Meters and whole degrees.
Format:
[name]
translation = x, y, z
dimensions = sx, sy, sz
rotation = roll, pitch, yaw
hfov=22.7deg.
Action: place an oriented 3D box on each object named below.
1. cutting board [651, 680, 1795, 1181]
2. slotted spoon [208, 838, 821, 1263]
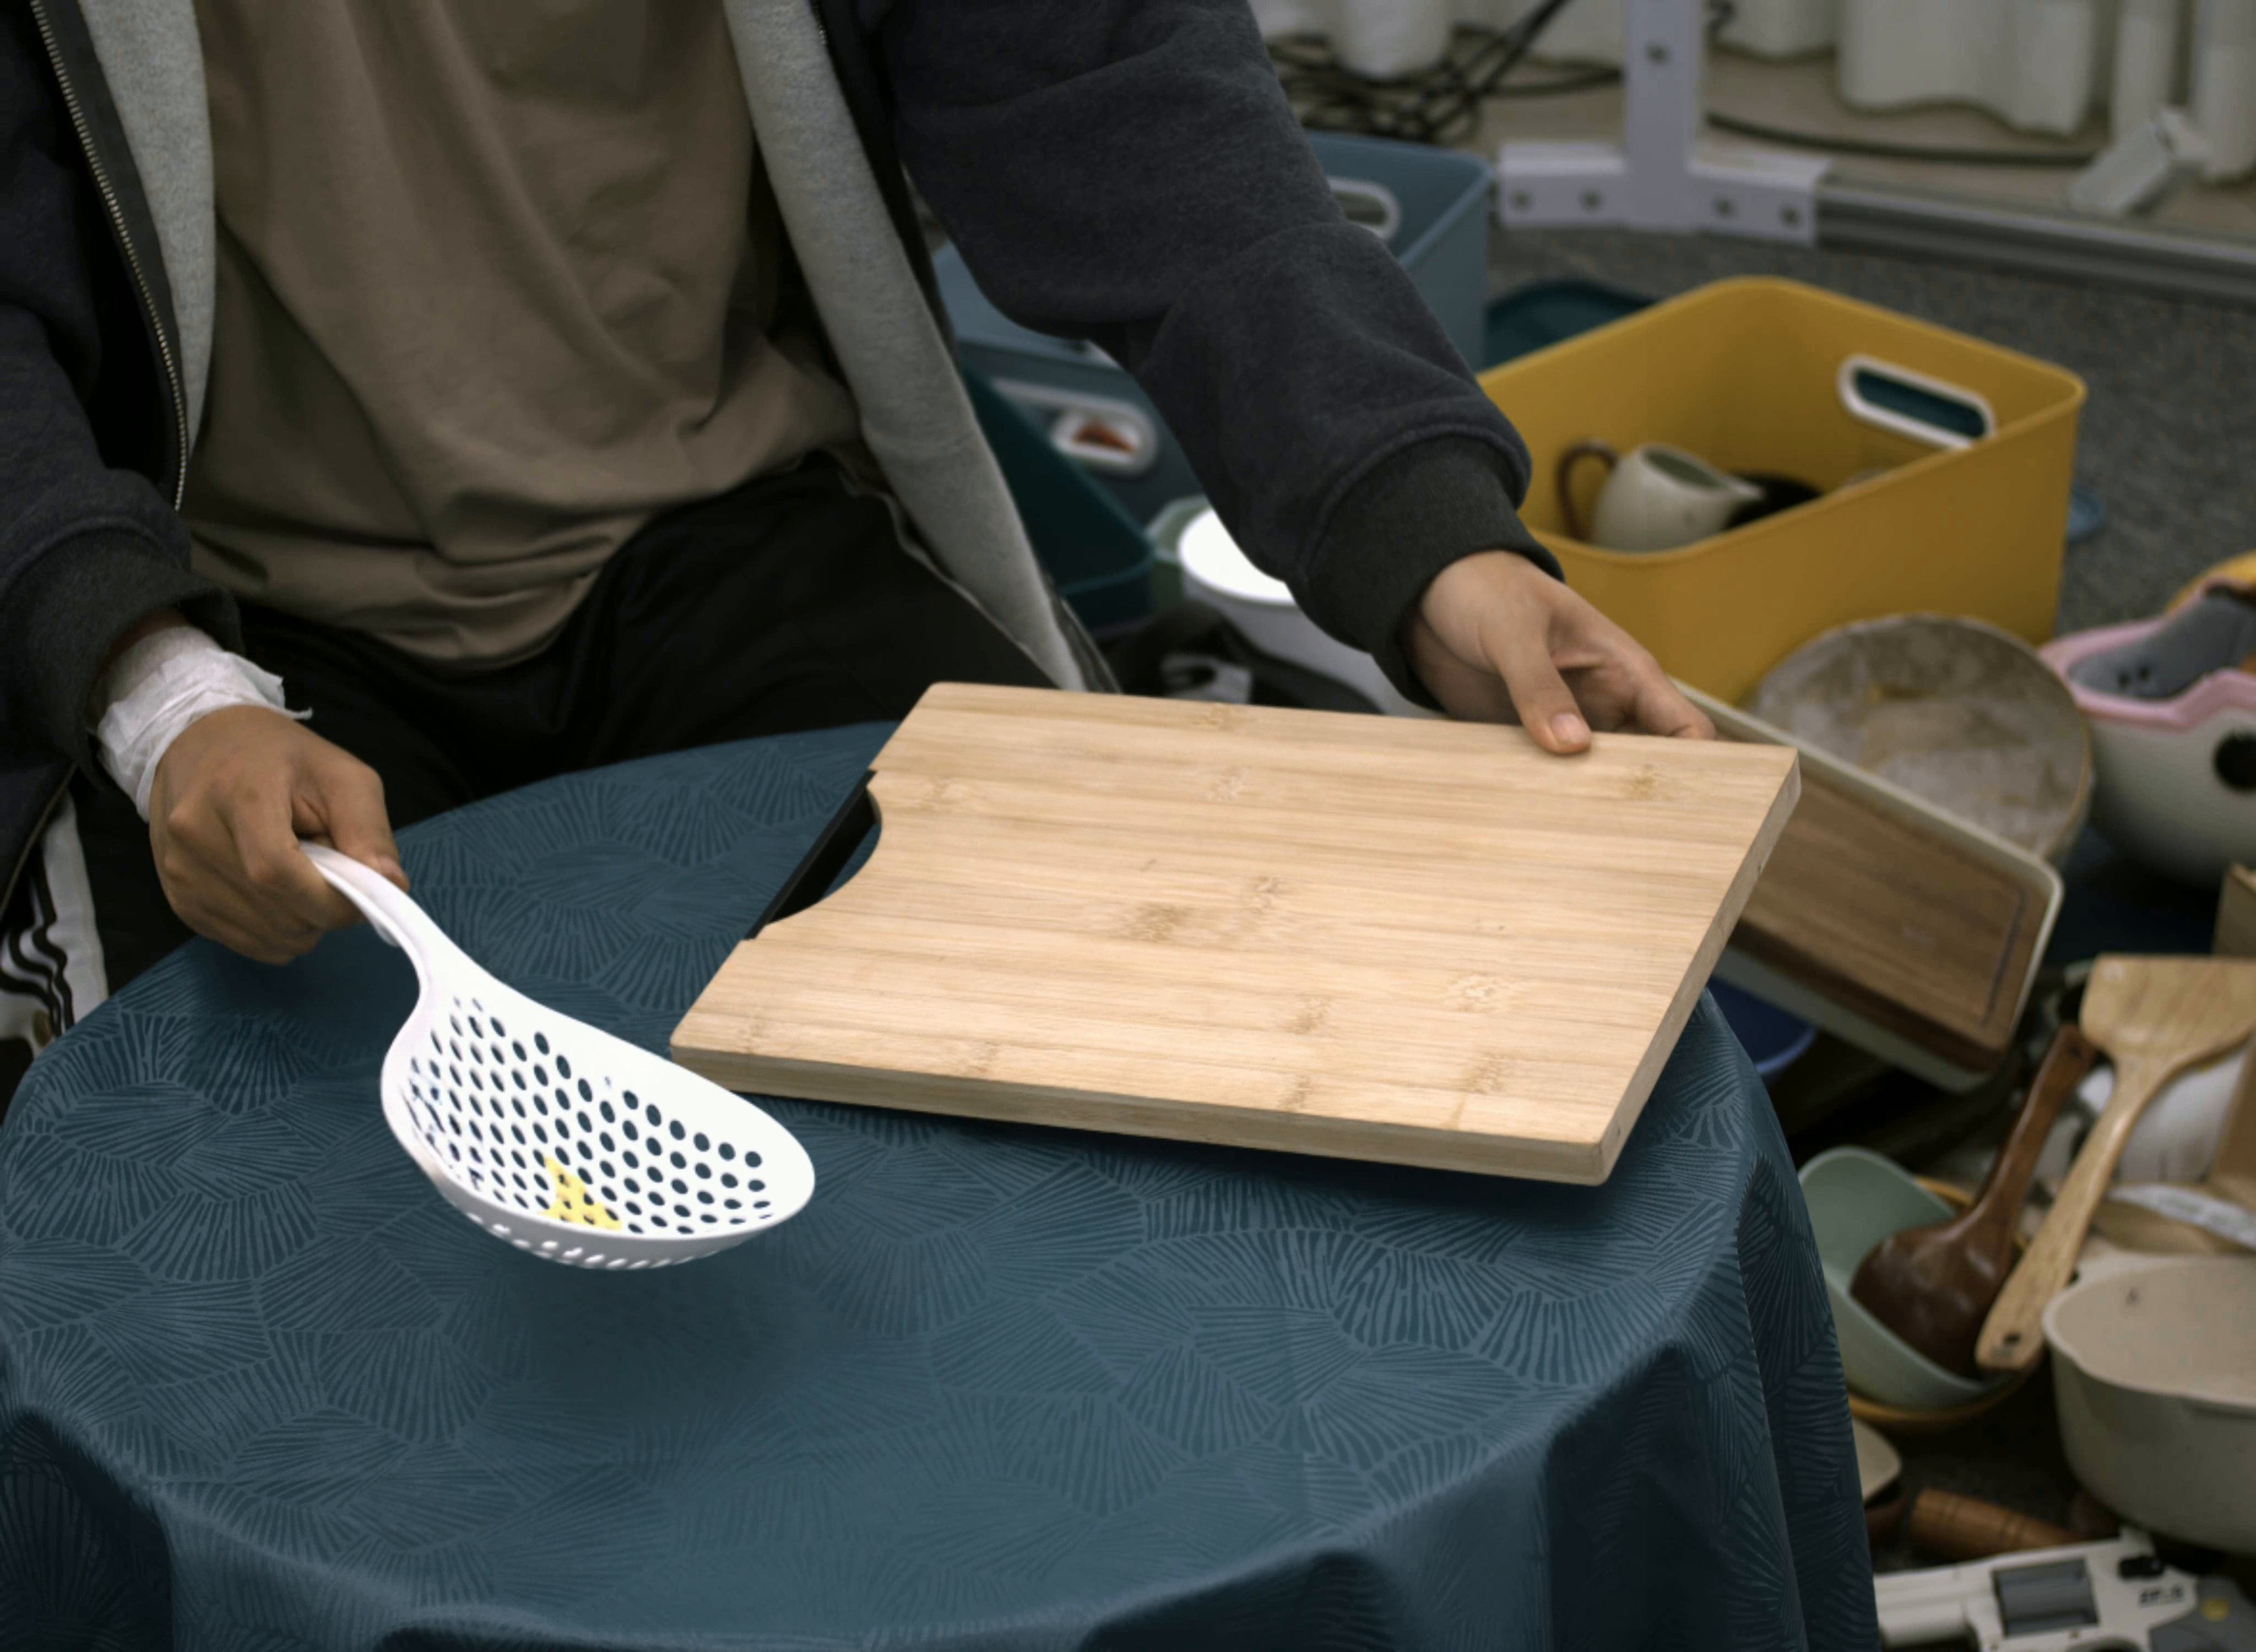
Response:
[cutting board]
translation = 0.036, 0.031, 1.967
dimensions = 0.346, 0.023, 0.255
rotation = 4, 34, 21
[slotted spoon]
translation = -0.224, 0.063, 1.865
dimensions = 0.137, 0.050, 0.350
rotation = -1, 28, -33
